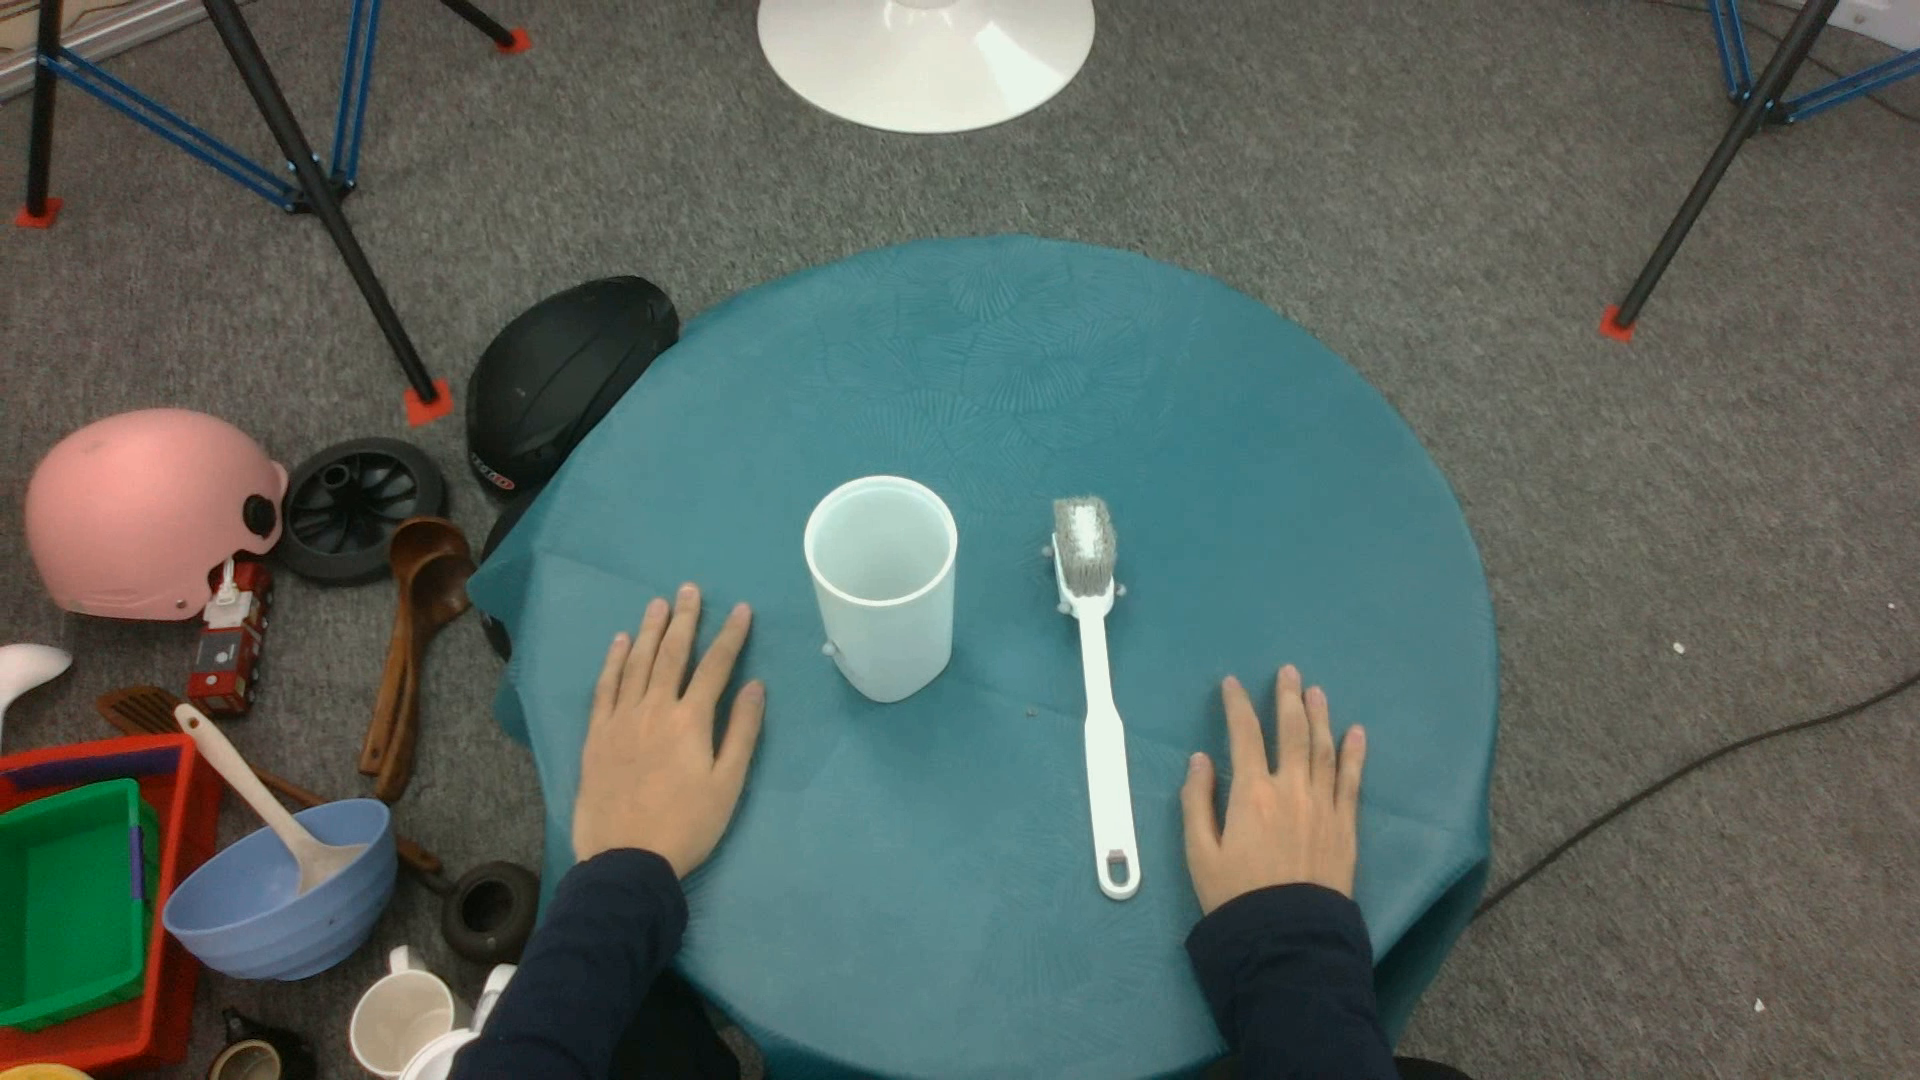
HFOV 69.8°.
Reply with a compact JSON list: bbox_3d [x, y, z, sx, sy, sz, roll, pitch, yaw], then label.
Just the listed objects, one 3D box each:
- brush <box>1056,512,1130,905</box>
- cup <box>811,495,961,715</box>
[{"bbox_3d":[0.081,0.088,0.807,0.034,0.050,0.244,1,56,-3],"label":"brush"},{"bbox_3d":[-0.039,0.042,0.793,0.081,0.125,0.082,0,58,1],"label":"cup"}]
